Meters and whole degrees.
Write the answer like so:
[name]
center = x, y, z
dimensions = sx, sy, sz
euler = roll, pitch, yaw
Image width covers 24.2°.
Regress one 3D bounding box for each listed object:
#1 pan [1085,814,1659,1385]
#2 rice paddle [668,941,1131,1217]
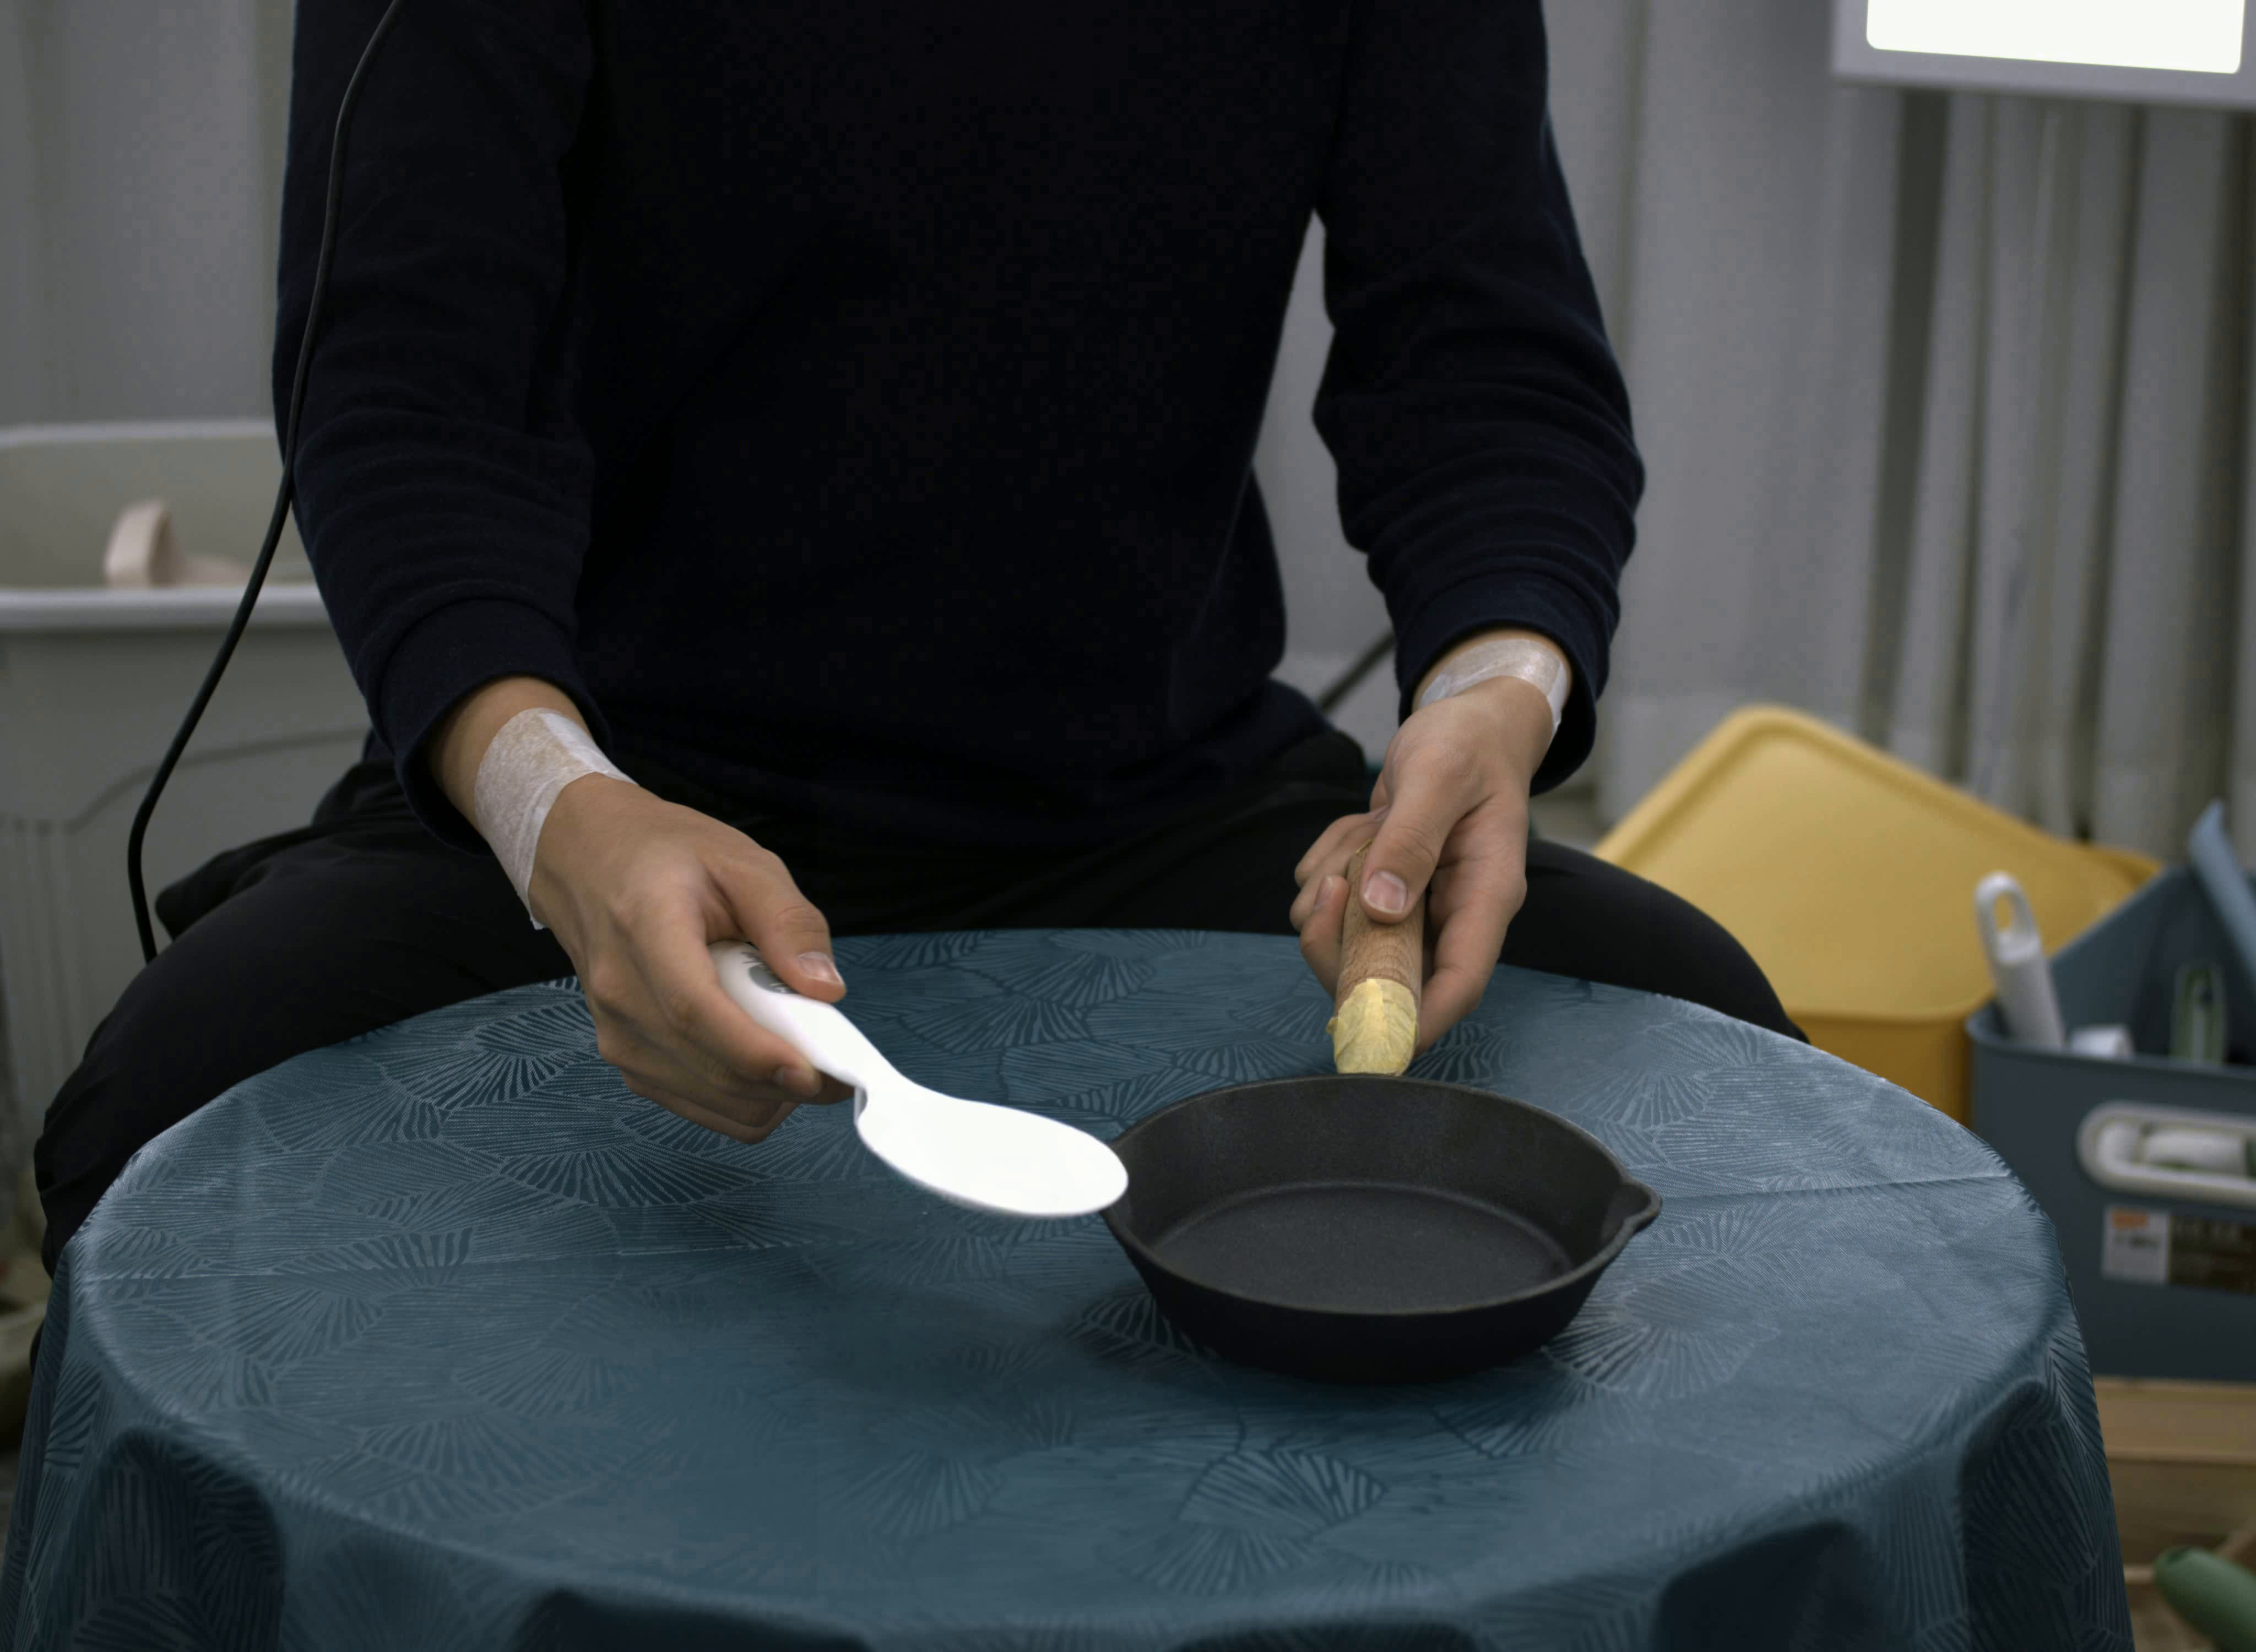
[pan]
center = 0.077, 0.079, 1.595
dimensions = 0.168, 0.050, 0.322
euler = 3, 24, 5
[rice paddle]
center = -0.069, 0.075, 1.522
dimensions = 0.069, 0.029, 0.202
euler = -10, 21, -33
